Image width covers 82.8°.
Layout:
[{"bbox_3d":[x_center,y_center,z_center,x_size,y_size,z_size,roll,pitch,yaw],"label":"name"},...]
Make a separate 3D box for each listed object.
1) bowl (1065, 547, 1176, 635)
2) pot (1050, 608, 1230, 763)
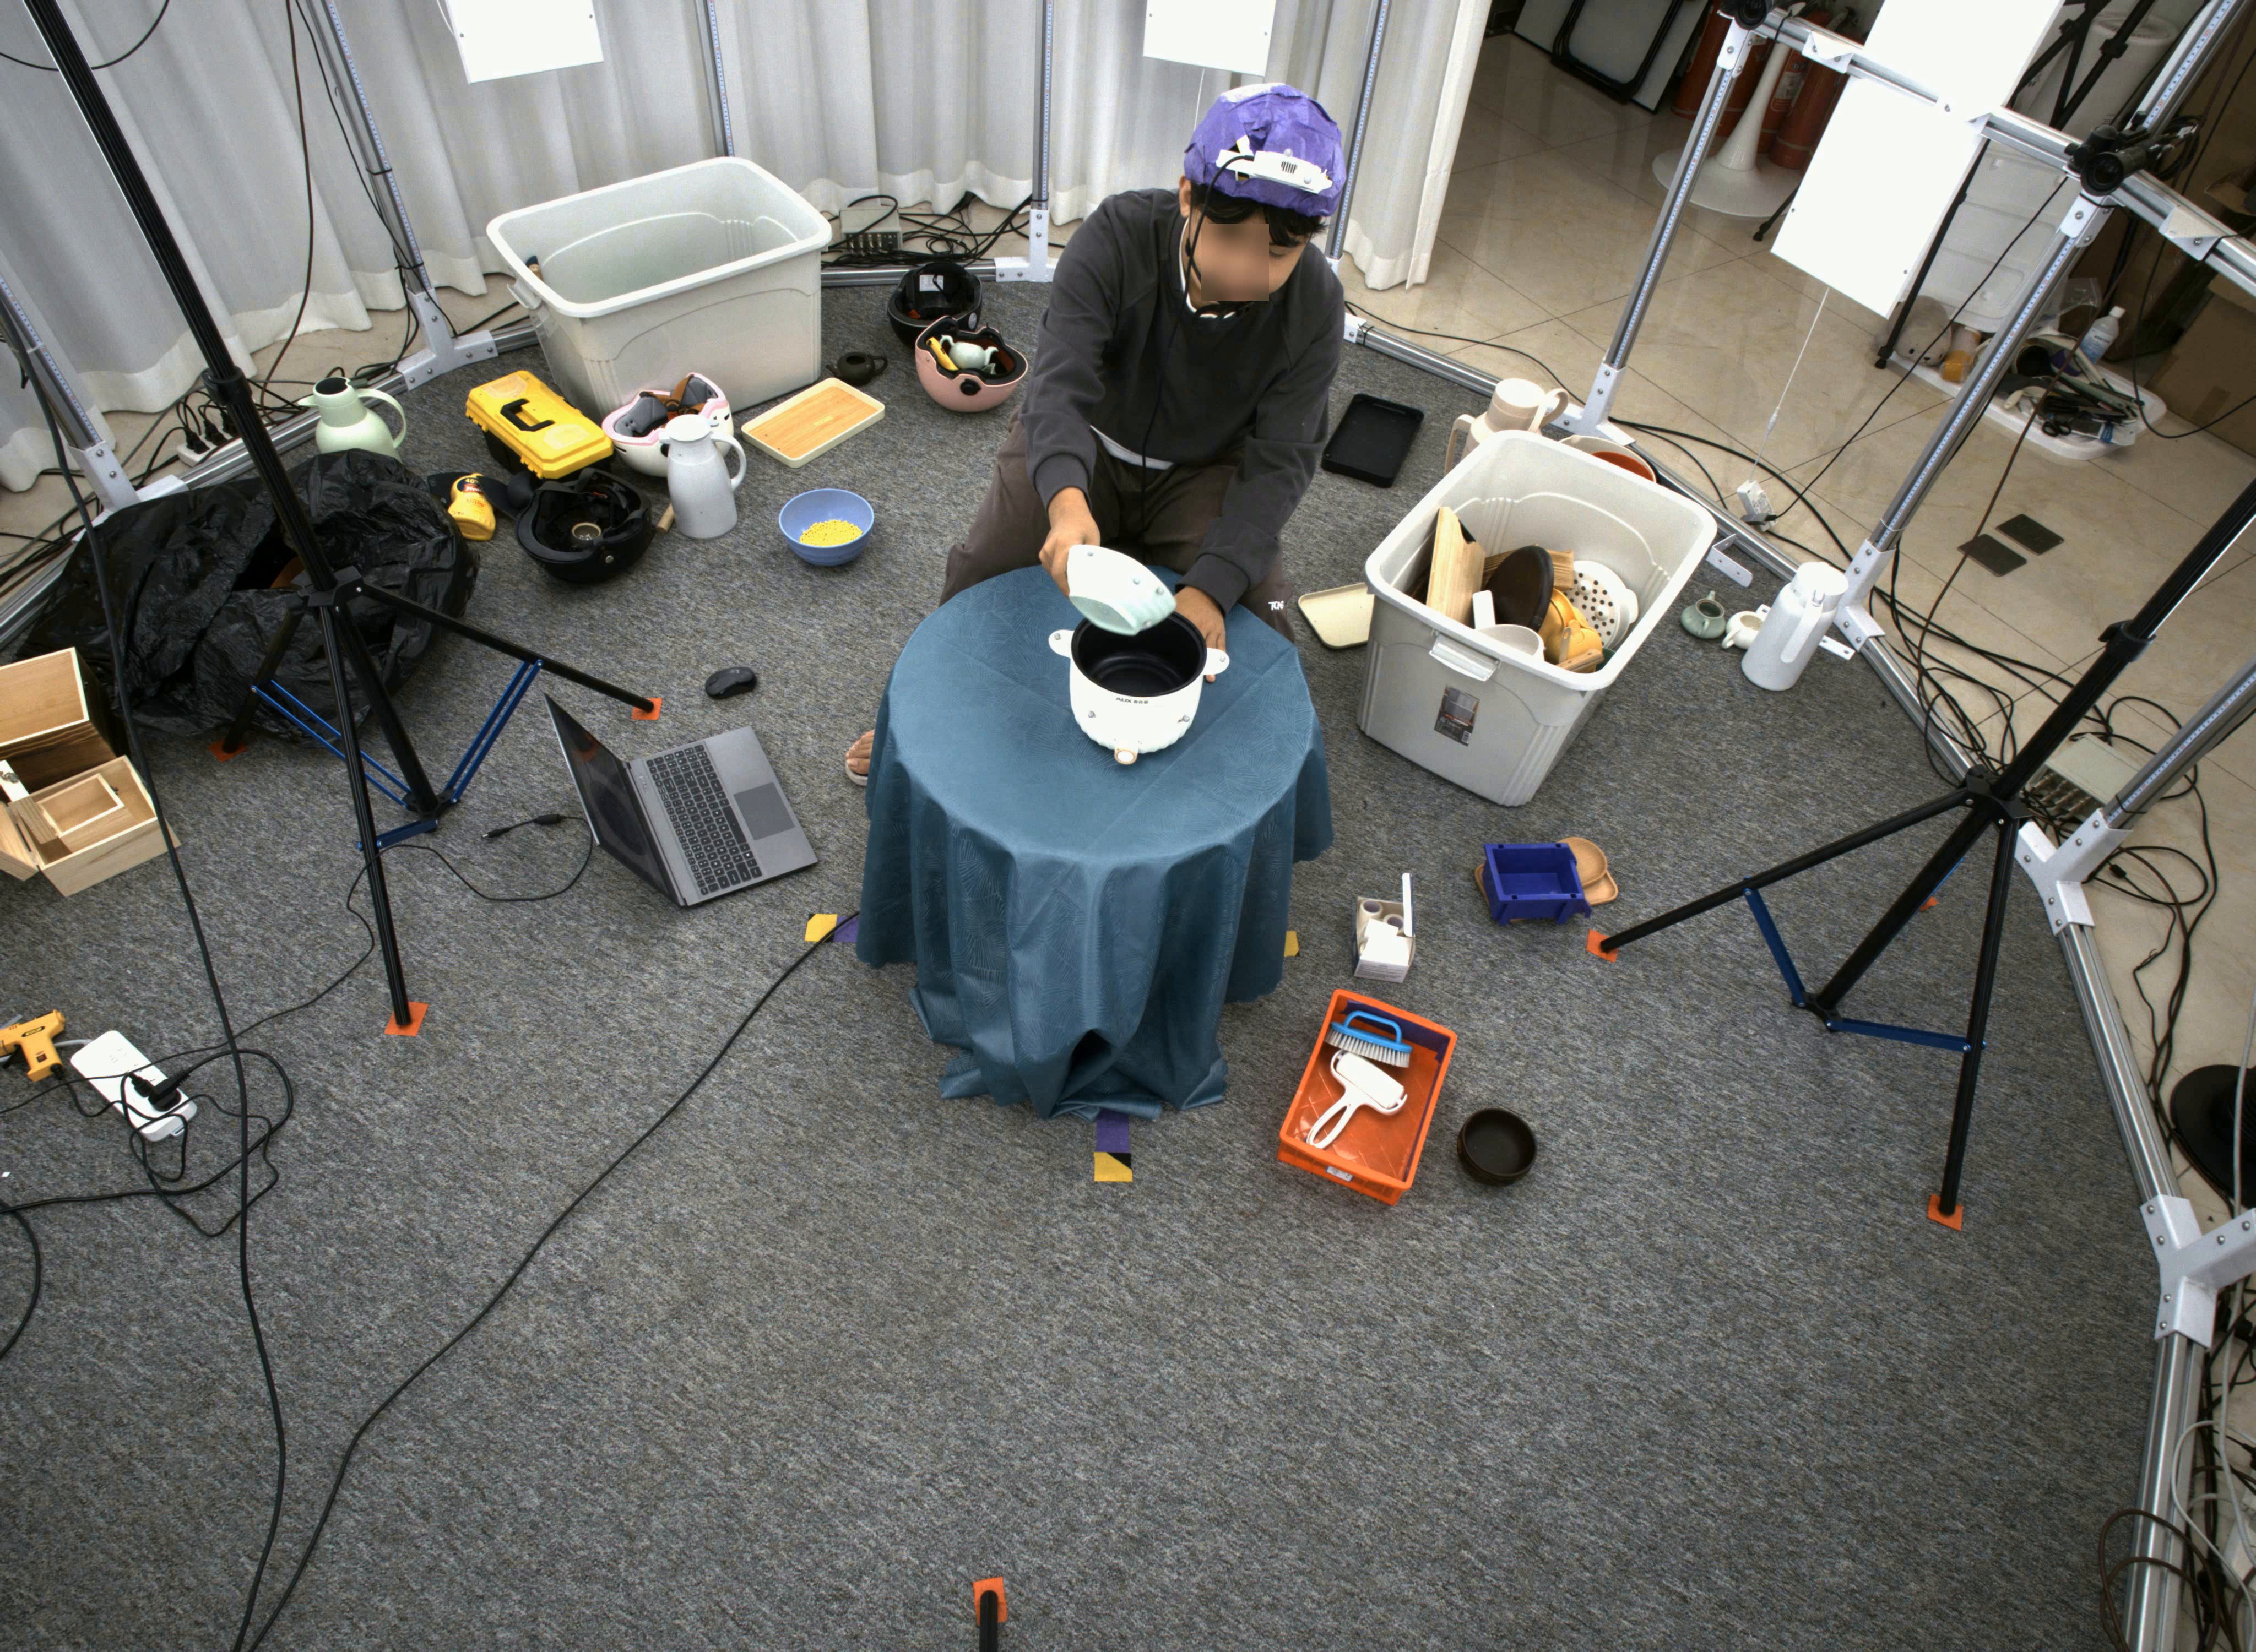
[{"bbox_3d":[-0.020,-0.287,1.608,0.152,0.149,0.059,25,82,15],"label":"bowl"},{"bbox_3d":[0.013,-0.192,1.742,0.240,0.139,0.195,5,46,2],"label":"pot"}]
